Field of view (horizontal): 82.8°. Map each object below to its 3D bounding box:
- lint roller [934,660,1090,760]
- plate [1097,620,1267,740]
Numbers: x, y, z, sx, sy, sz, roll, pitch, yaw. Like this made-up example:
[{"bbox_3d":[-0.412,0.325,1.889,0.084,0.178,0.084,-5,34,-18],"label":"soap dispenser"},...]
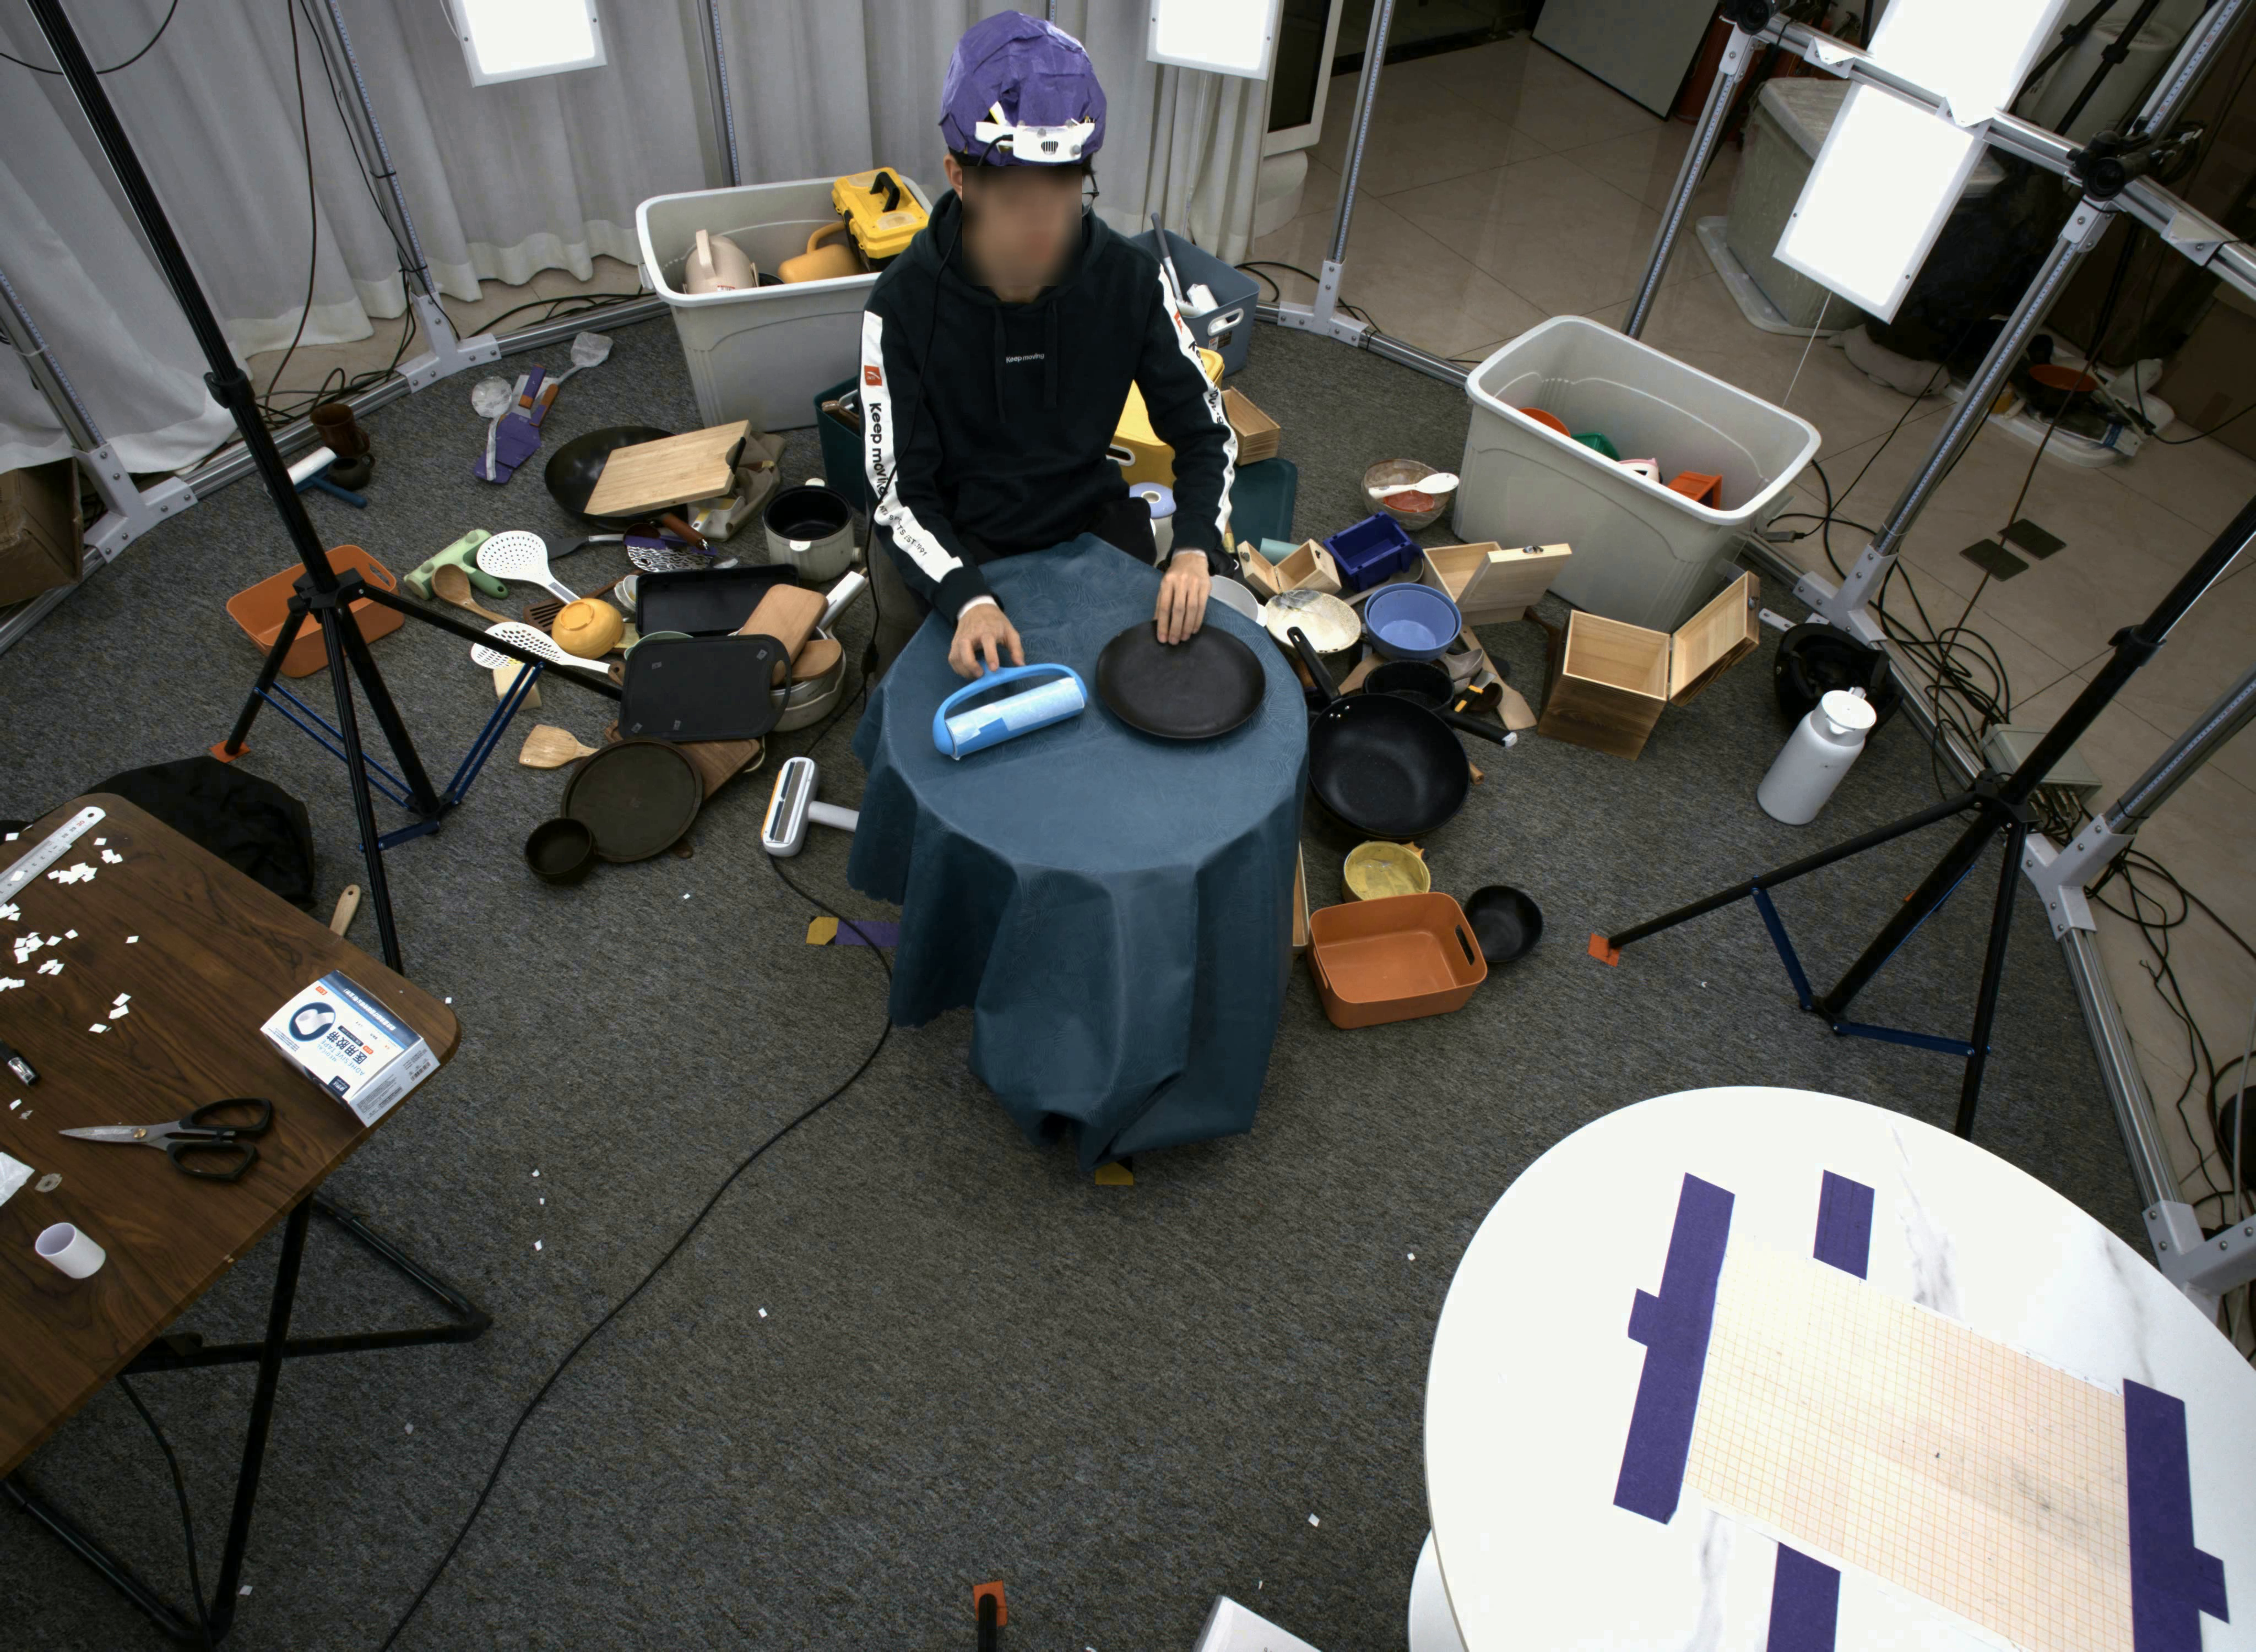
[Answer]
[{"bbox_3d":[-0.187,-0.188,1.783,0.230,0.066,0.184,-25,54,-22],"label":"lint roller"},{"bbox_3d":[0.077,-0.208,1.838,0.244,0.023,0.250,2,49,-2],"label":"plate"}]
